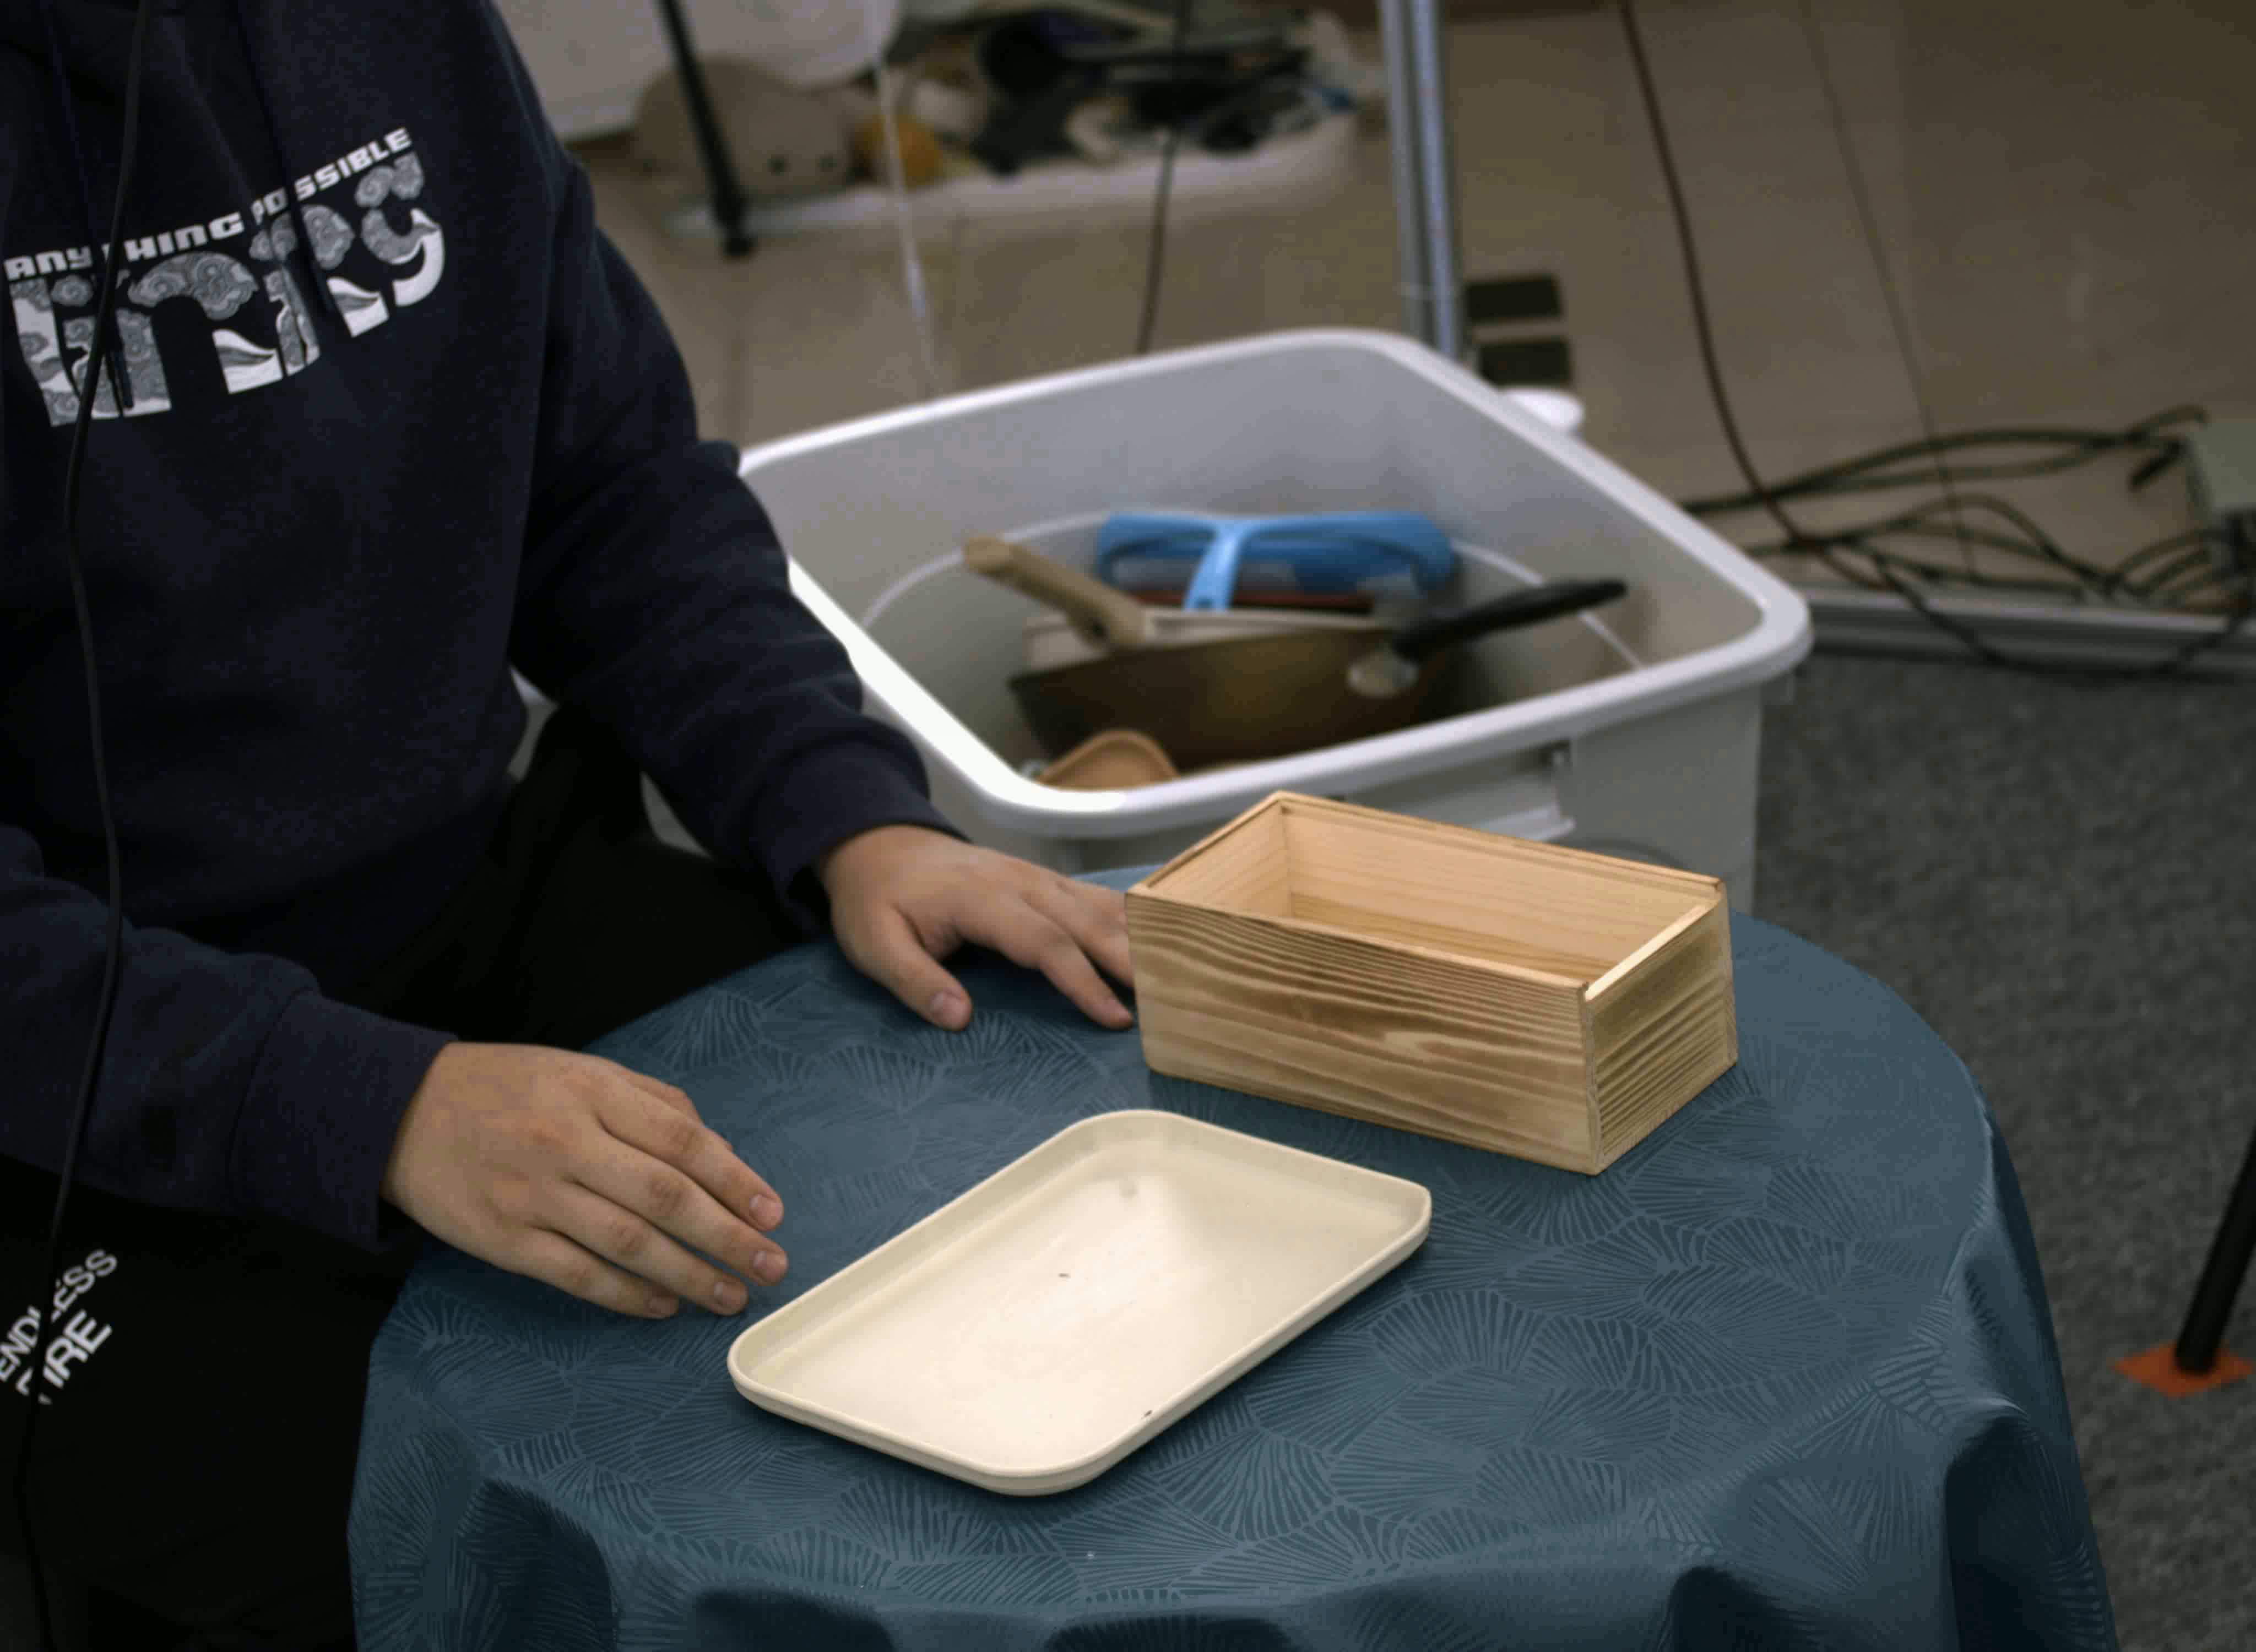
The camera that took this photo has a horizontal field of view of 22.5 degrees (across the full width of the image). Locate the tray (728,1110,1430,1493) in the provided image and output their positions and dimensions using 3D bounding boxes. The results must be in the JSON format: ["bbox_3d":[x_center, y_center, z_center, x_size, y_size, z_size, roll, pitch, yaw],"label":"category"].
[{"bbox_3d":[-0.016,0.171,2.060,0.170,0.018,0.237,14,31,38],"label":"tray"}]

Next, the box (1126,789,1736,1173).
[{"bbox_3d":[0.117,0.057,2.200,0.210,0.081,0.106,12,30,35],"label":"box"}]
